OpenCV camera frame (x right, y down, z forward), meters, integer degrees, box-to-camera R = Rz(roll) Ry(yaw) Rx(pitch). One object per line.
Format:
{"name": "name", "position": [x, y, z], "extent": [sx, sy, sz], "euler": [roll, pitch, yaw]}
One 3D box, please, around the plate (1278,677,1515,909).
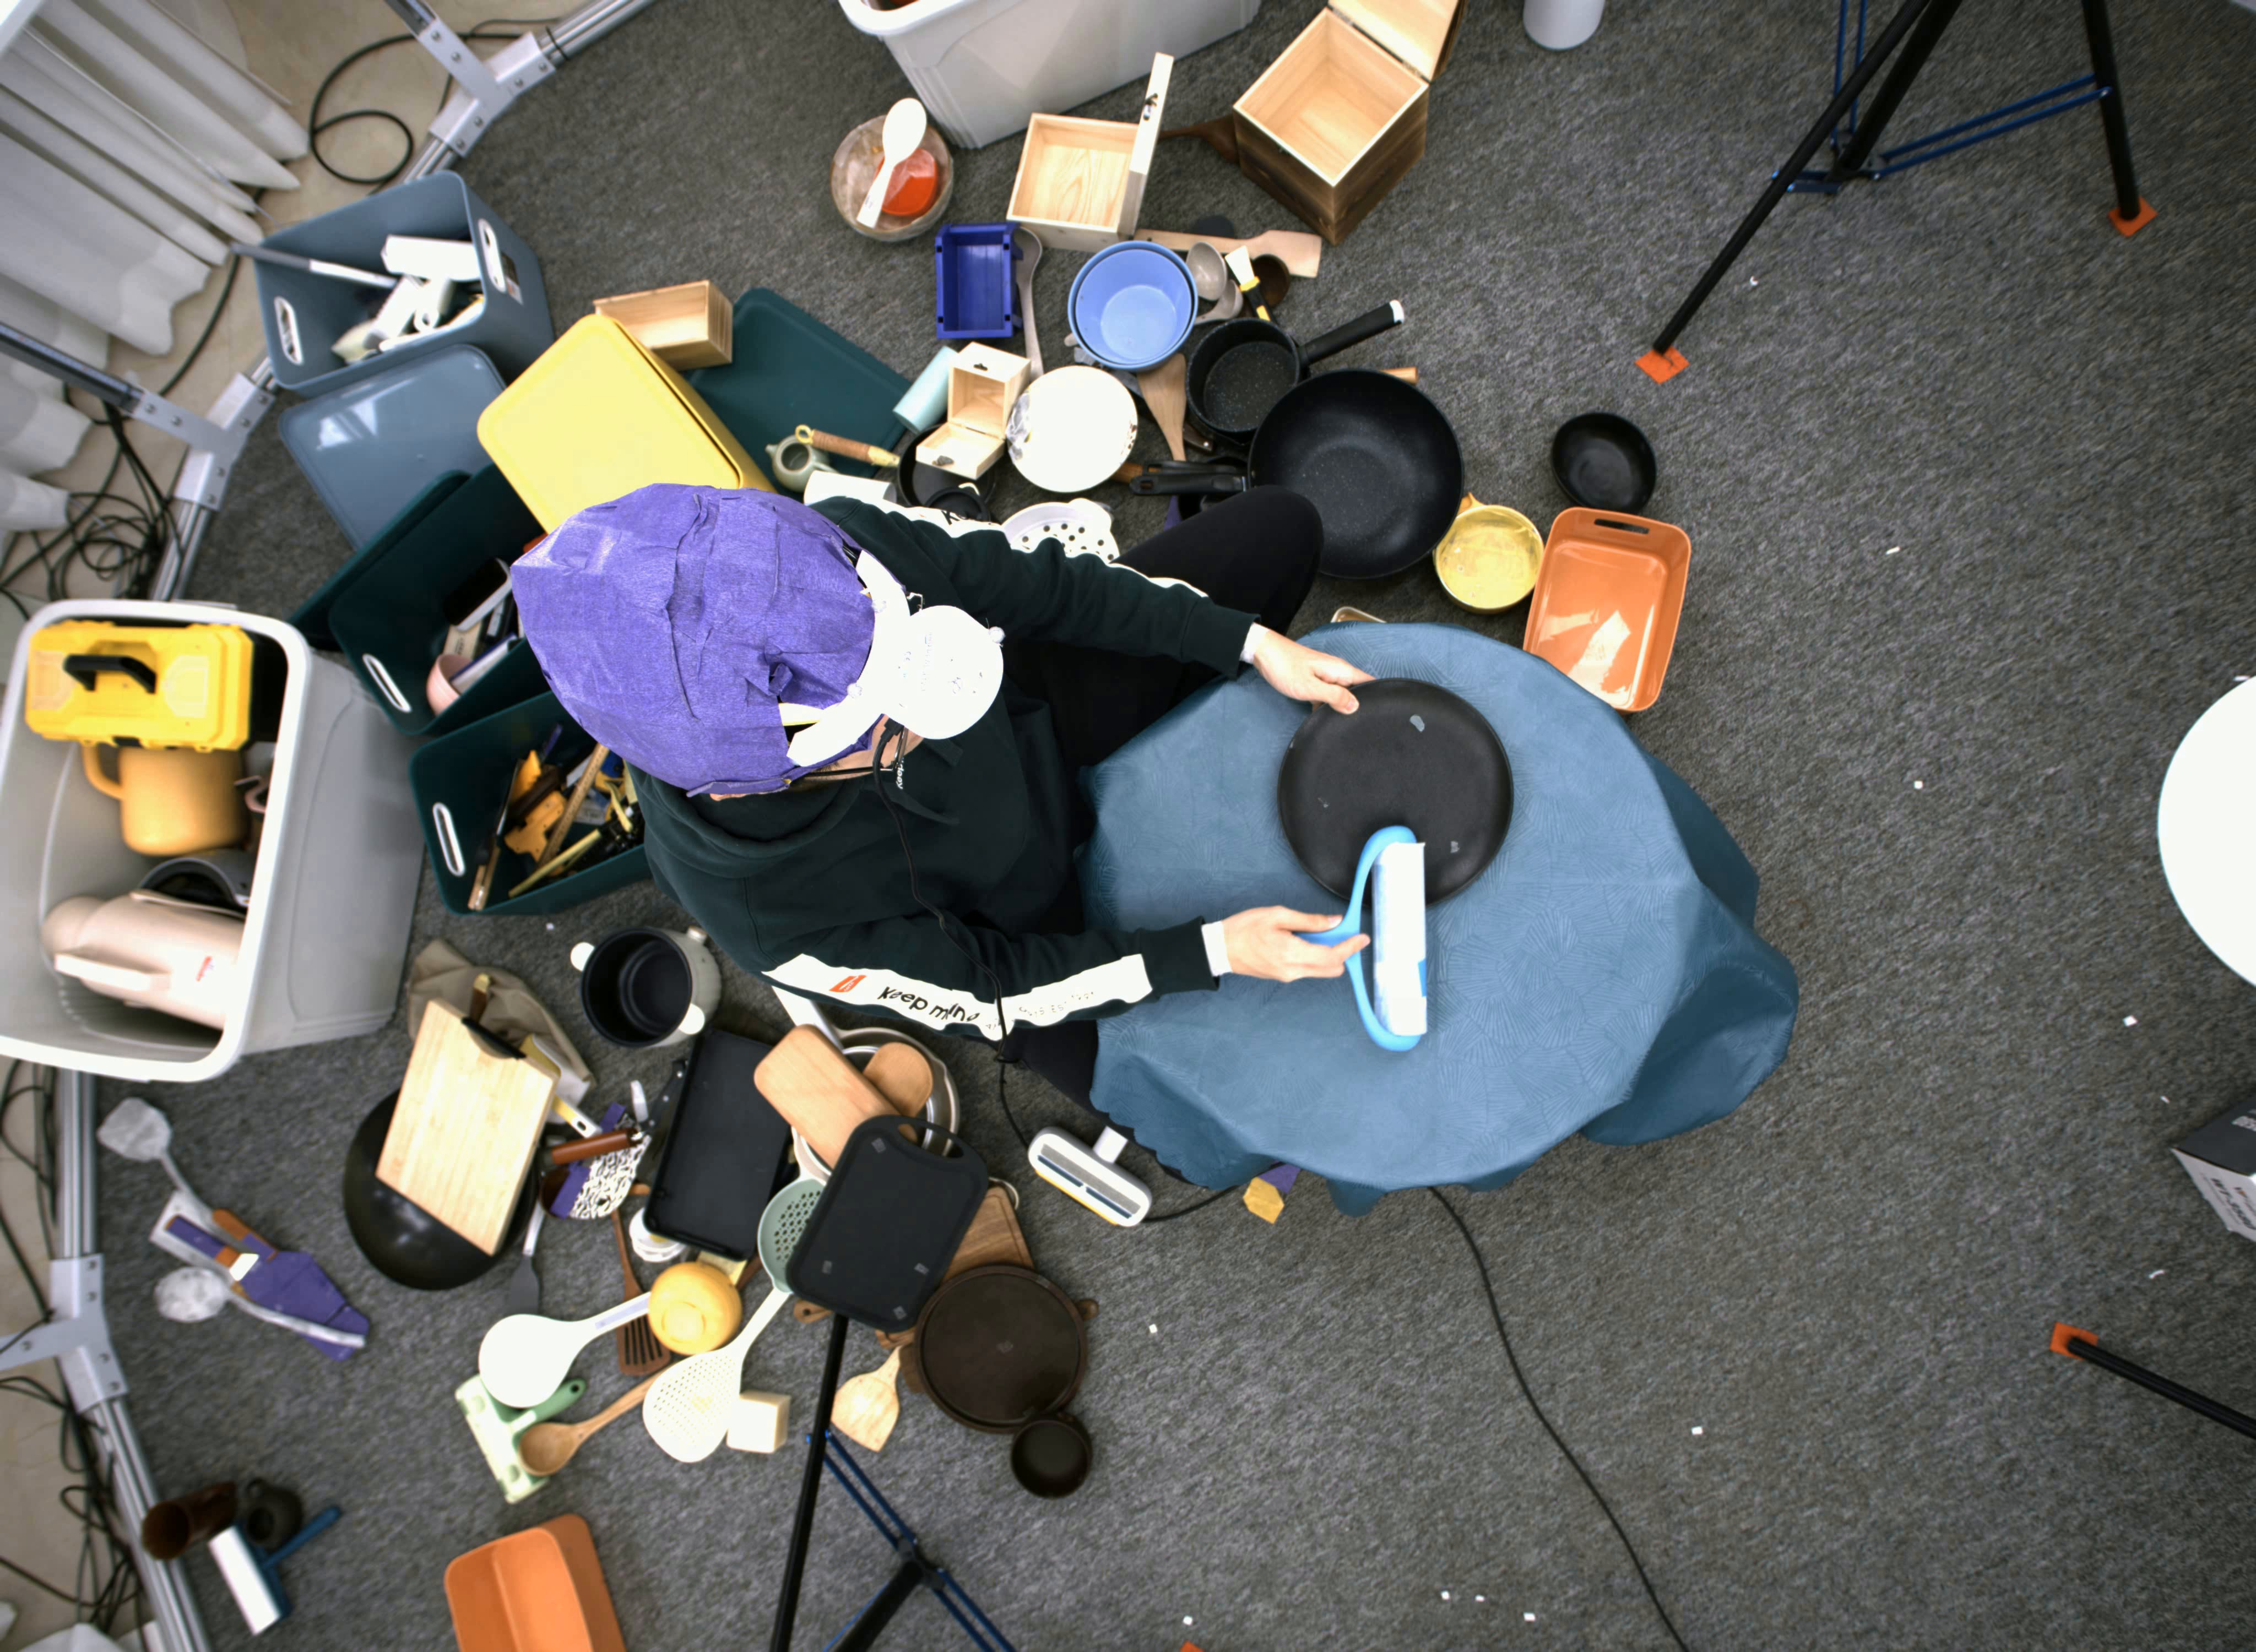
{"name": "plate", "position": [0.278, -0.034, 1.433], "extent": [0.245, 0.023, 0.245], "euler": [1, 96, 11]}

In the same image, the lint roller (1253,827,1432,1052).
{"name": "lint roller", "position": [0.219, 0.119, 1.407], "extent": [0.181, 0.067, 0.229], "euler": [-4, 92, 4]}
